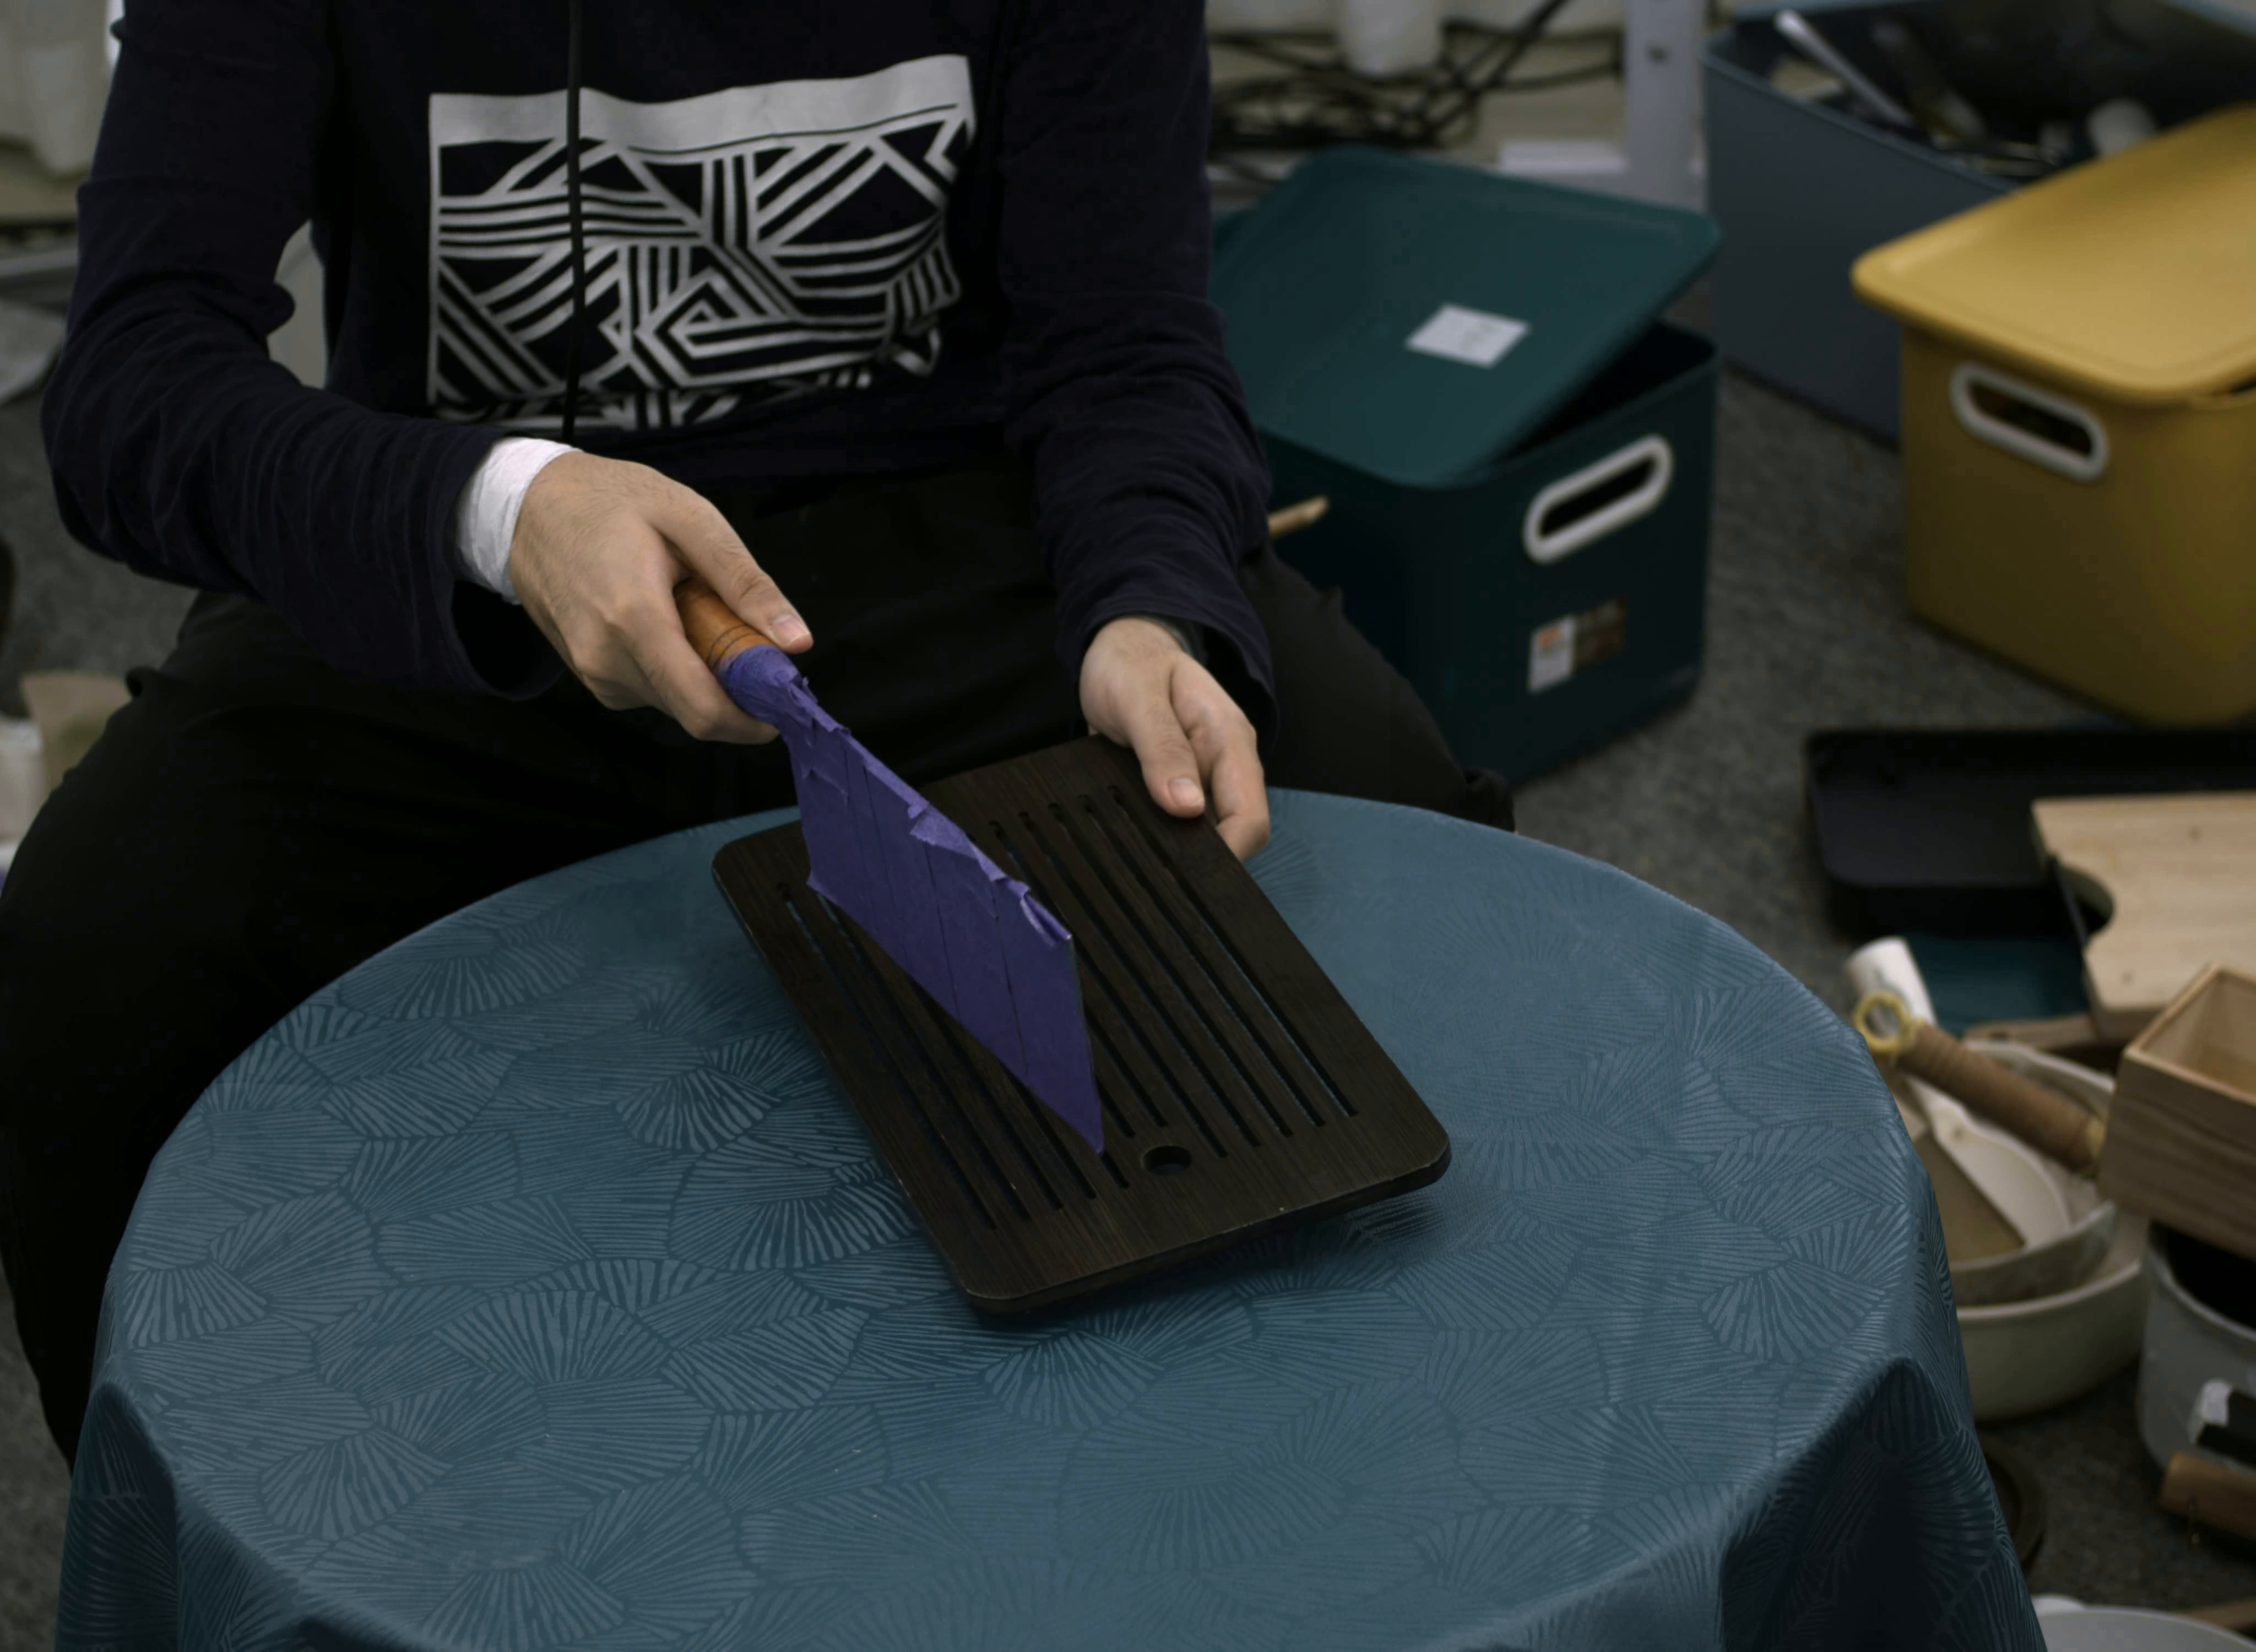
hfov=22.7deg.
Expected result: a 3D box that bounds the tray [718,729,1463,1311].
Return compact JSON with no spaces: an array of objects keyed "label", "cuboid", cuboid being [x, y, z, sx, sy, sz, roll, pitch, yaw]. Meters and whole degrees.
[{"label":"tray","cuboid":[-0.019,0.063,1.925,0.170,0.018,0.309,-16,33,-14]}]

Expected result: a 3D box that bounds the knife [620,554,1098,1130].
[{"label":"knife","cuboid":[-0.094,0.006,1.915,0.032,0.102,0.317,-20,34,-20]}]
